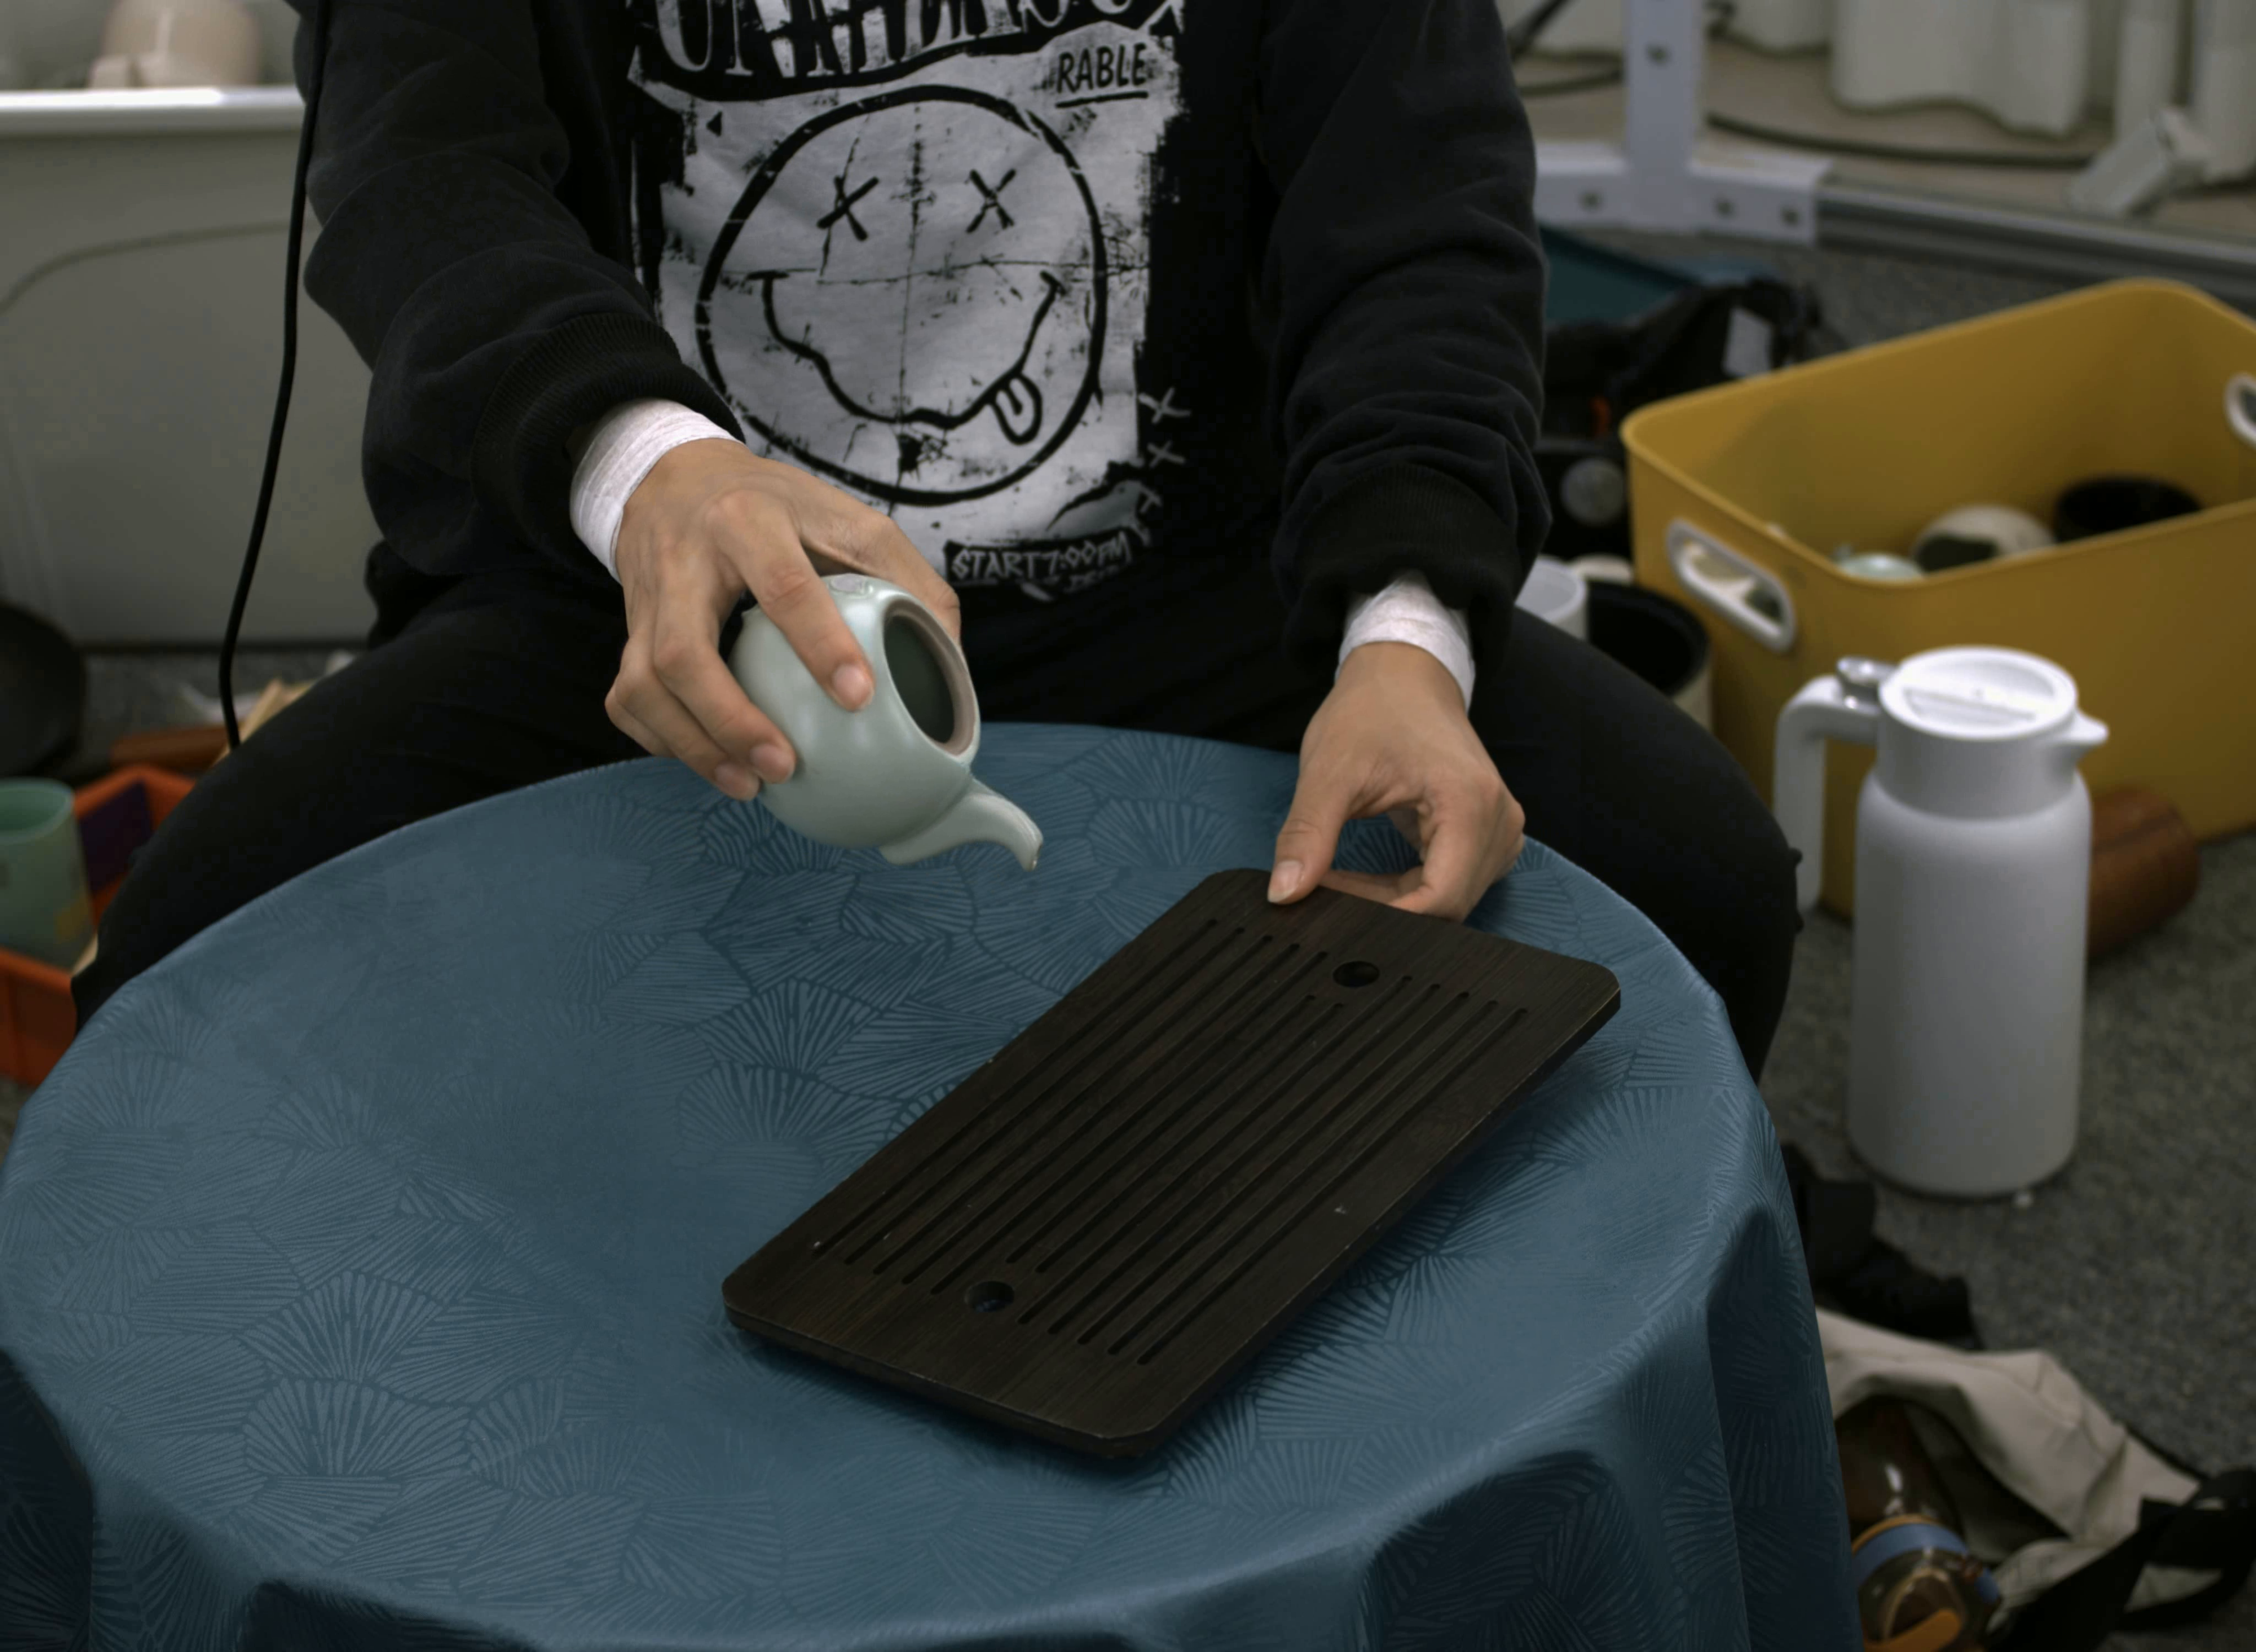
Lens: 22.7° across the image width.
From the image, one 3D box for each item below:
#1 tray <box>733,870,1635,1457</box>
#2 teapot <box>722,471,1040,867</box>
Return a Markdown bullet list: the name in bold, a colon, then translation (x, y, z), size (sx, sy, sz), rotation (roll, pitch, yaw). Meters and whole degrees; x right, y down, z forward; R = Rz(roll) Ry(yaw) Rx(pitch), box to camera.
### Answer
- **tray**: translation (0.023, 0.108, 1.849), size (0.169, 0.018, 0.311), rotation (15, 35, 32)
- **teapot**: translation (-0.087, -0.040, 1.784), size (0.074, 0.143, 0.089), rotation (-21, 13, 22)
